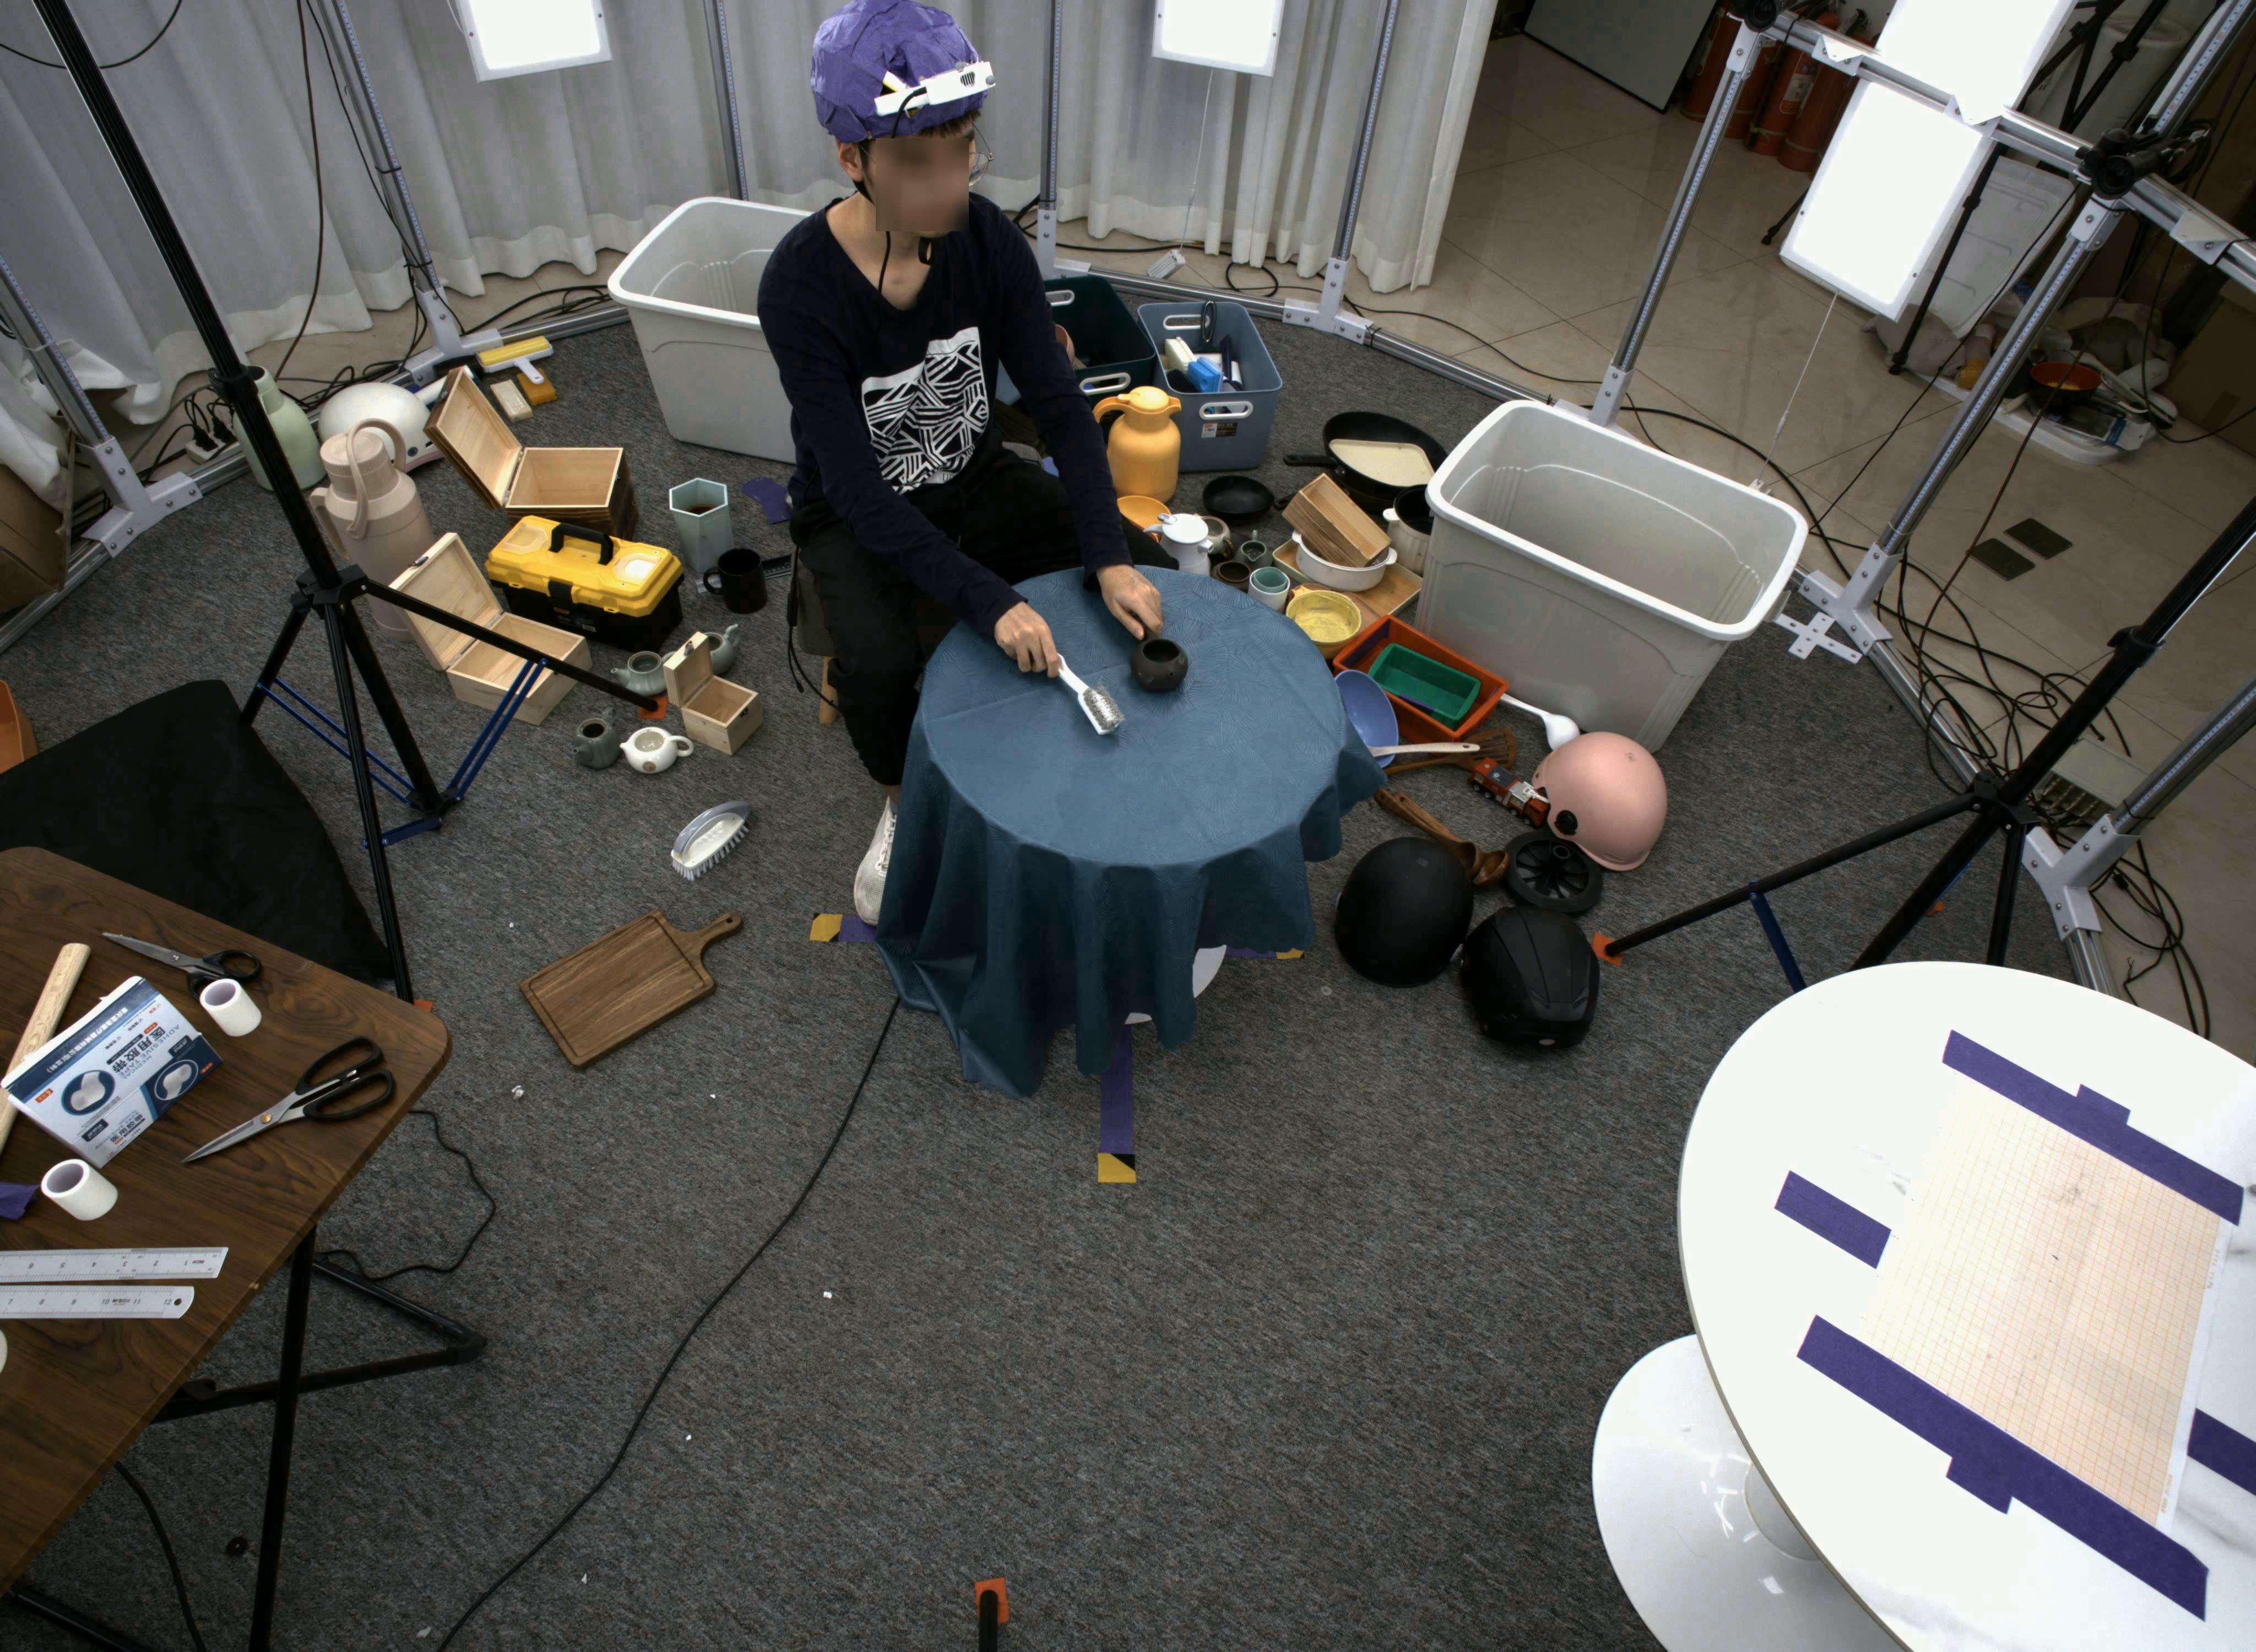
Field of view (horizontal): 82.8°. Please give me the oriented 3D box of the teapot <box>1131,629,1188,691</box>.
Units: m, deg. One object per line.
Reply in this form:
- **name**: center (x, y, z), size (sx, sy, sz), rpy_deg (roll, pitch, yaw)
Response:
- **teapot**: center (0.041, -0.241, 1.847), size (0.083, 0.052, 0.117), rpy_deg (-13, 51, -14)

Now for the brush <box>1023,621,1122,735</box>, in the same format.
- **brush**: center (-0.083, -0.222, 1.813), size (0.034, 0.049, 0.248), rpy_deg (-25, 60, -18)
